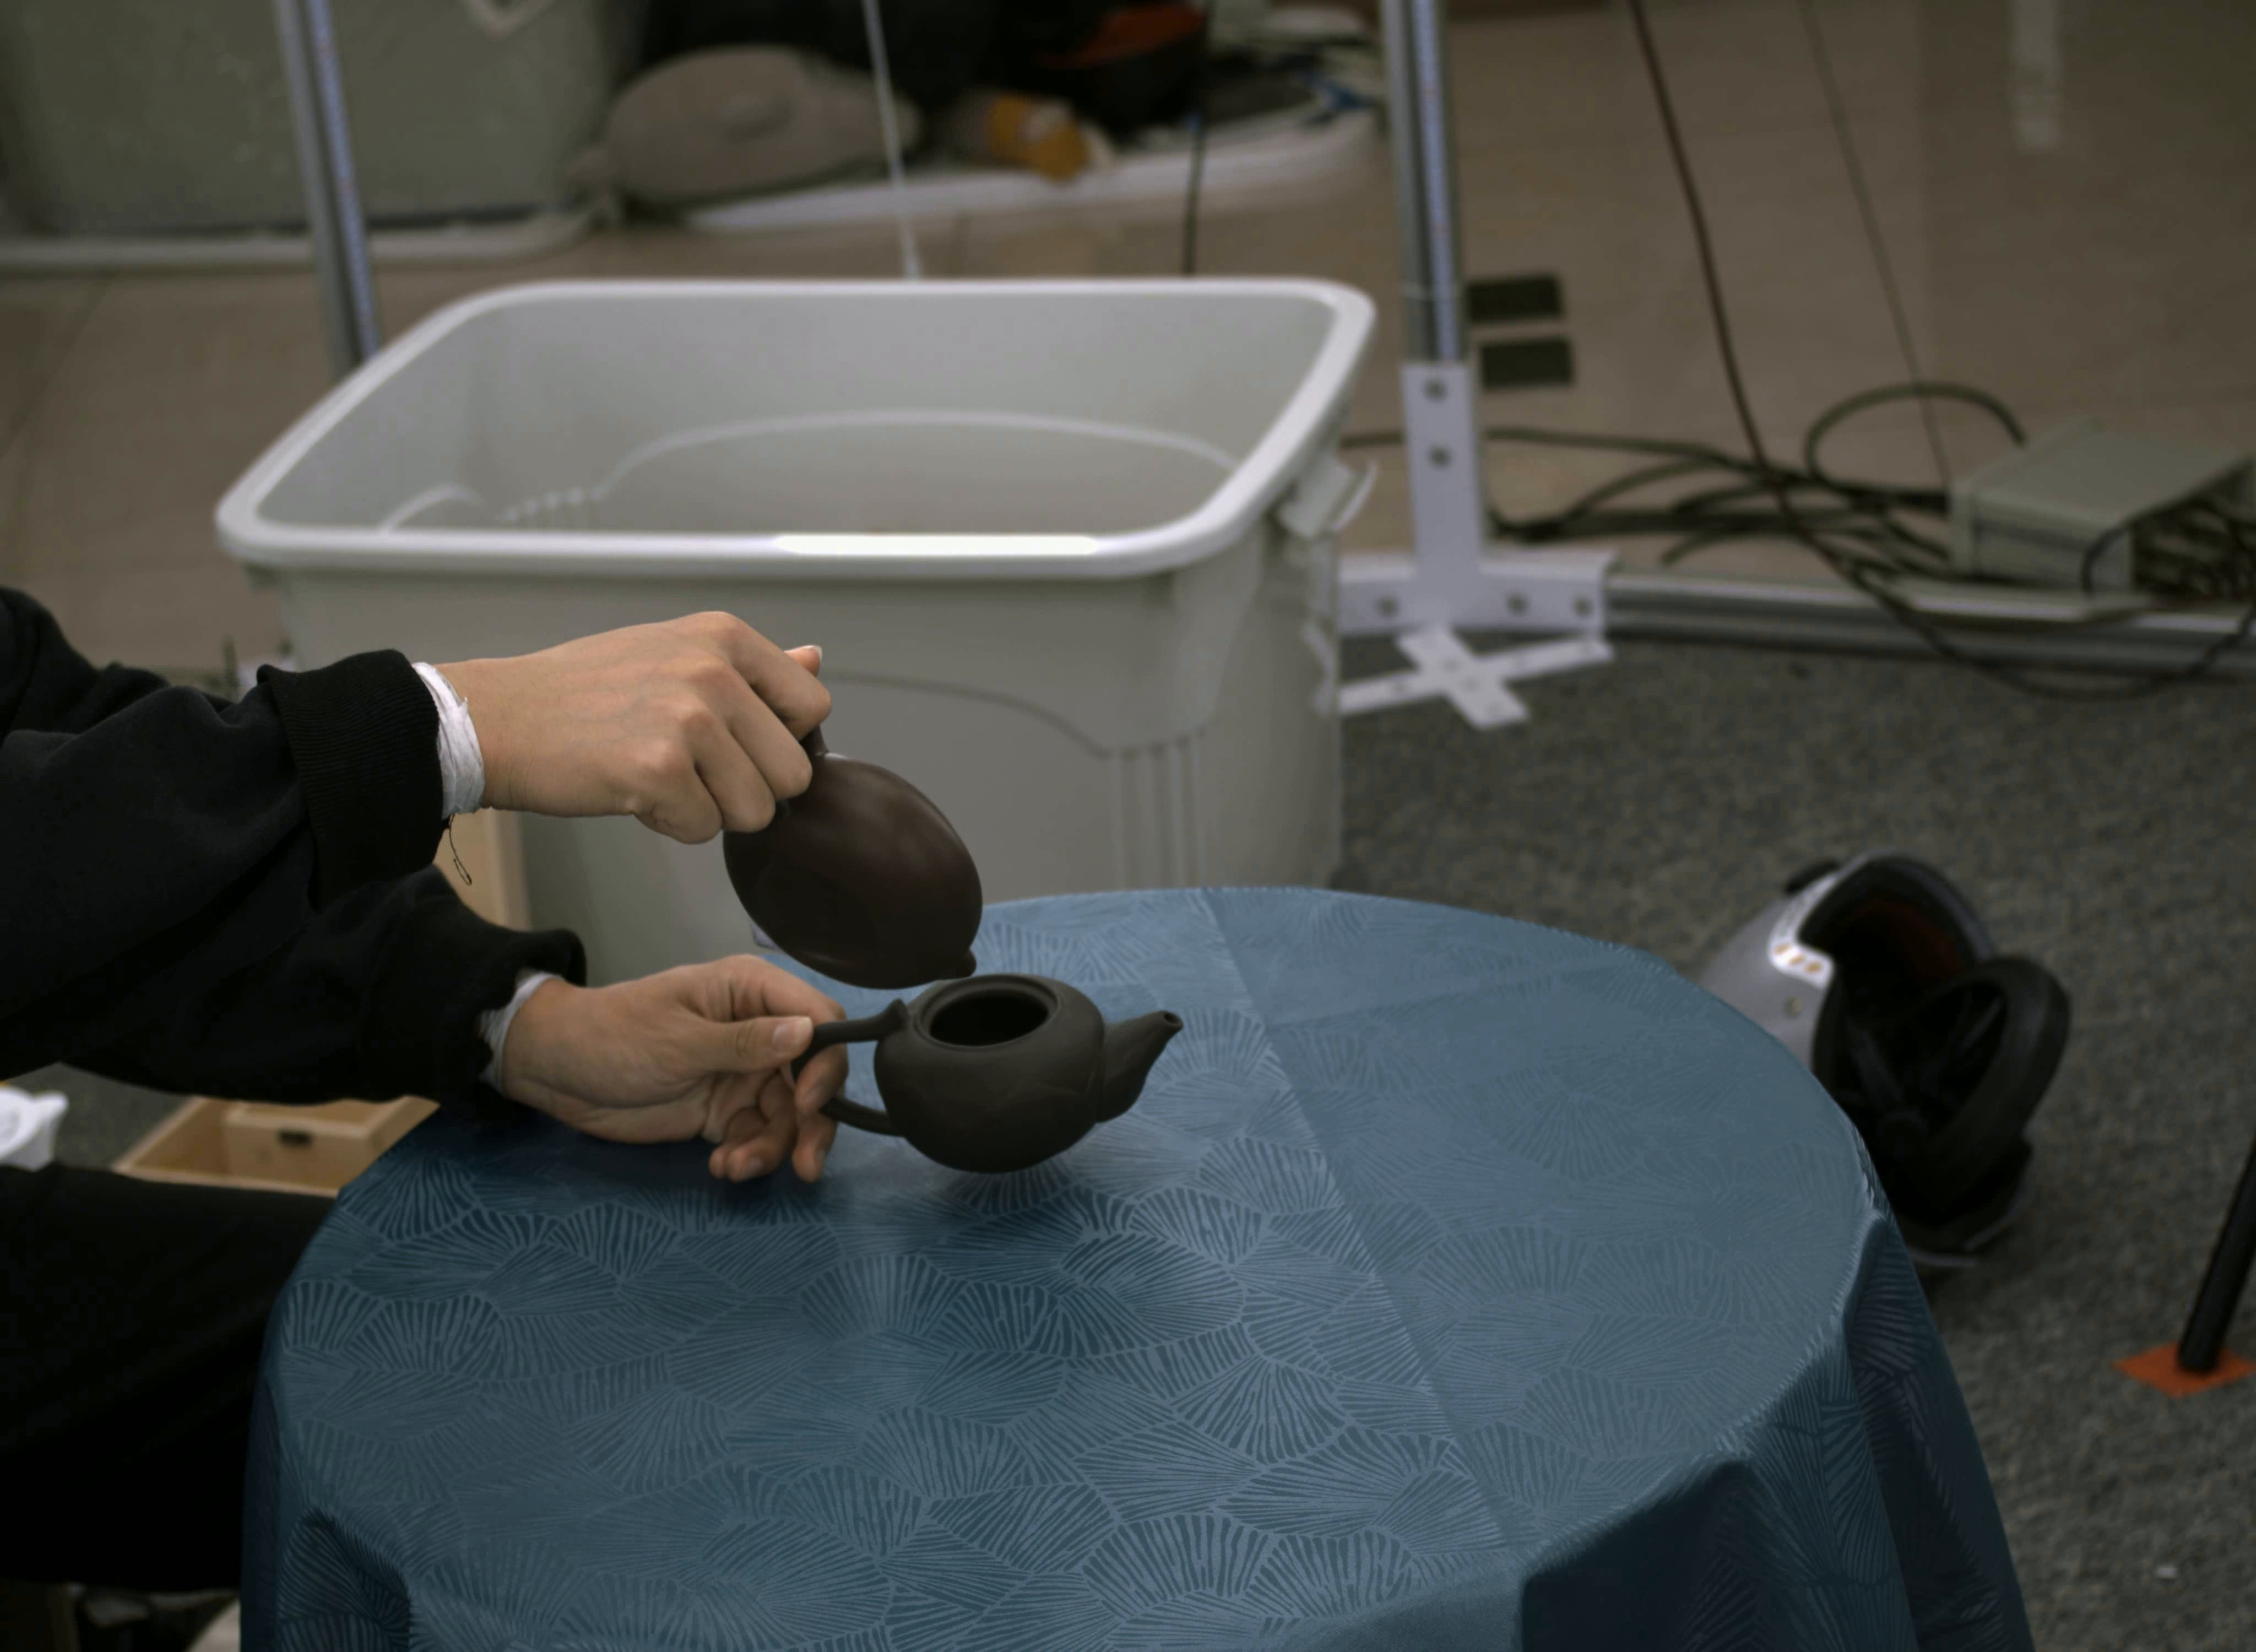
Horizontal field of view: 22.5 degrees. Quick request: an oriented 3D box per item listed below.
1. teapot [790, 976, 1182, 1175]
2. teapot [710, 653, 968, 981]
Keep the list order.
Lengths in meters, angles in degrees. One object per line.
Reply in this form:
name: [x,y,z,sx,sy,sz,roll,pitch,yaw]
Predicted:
teapot: [-0.054,0.094,2.162,0.154,0.065,0.091,-1,25,10]
teapot: [-0.106,0.006,2.062,0.102,0.156,0.053,9,40,30]
